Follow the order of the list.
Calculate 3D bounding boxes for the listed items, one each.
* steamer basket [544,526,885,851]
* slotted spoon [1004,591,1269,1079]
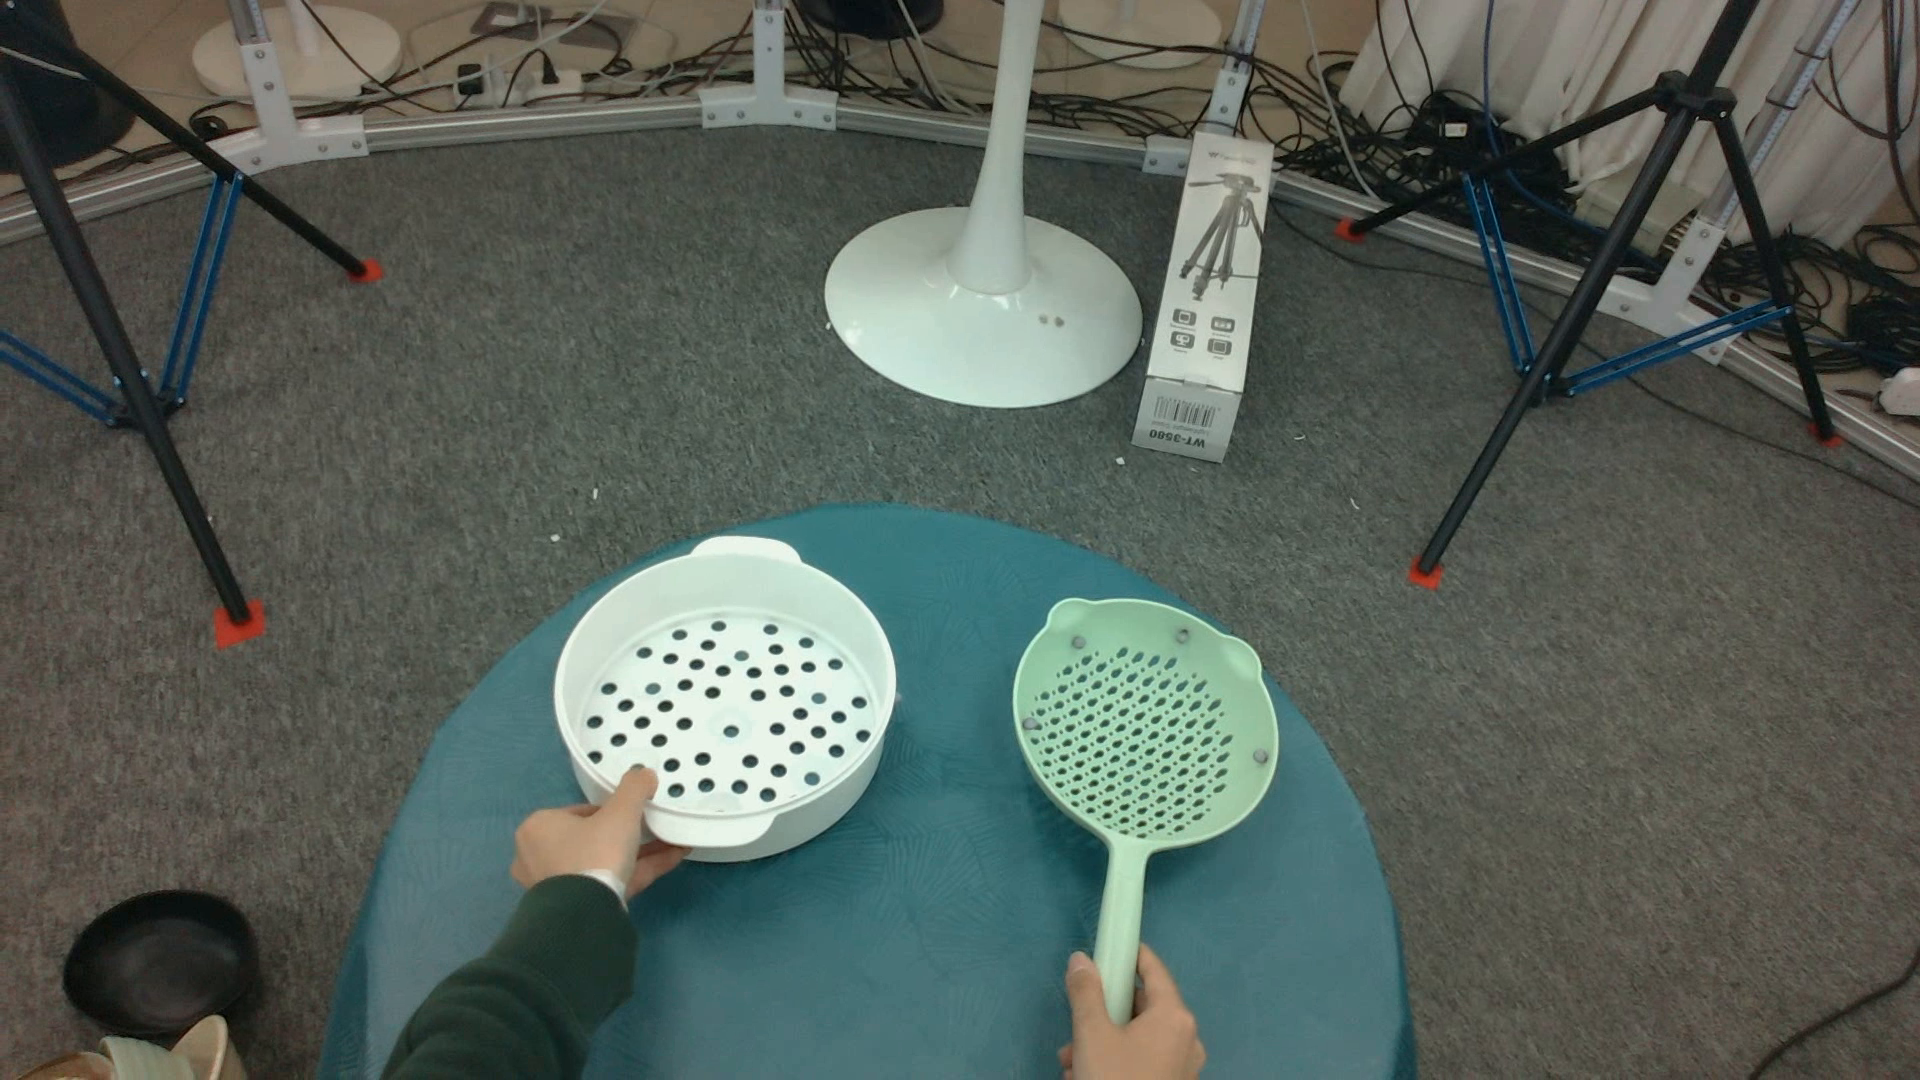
[{"bbox_3d":[-0.149,0.095,0.850,0.202,0.069,0.231,3,47,-5],"label":"steamer basket"},{"bbox_3d":[0.090,0.185,0.799,0.169,0.075,0.360,14,44,-1],"label":"slotted spoon"}]
